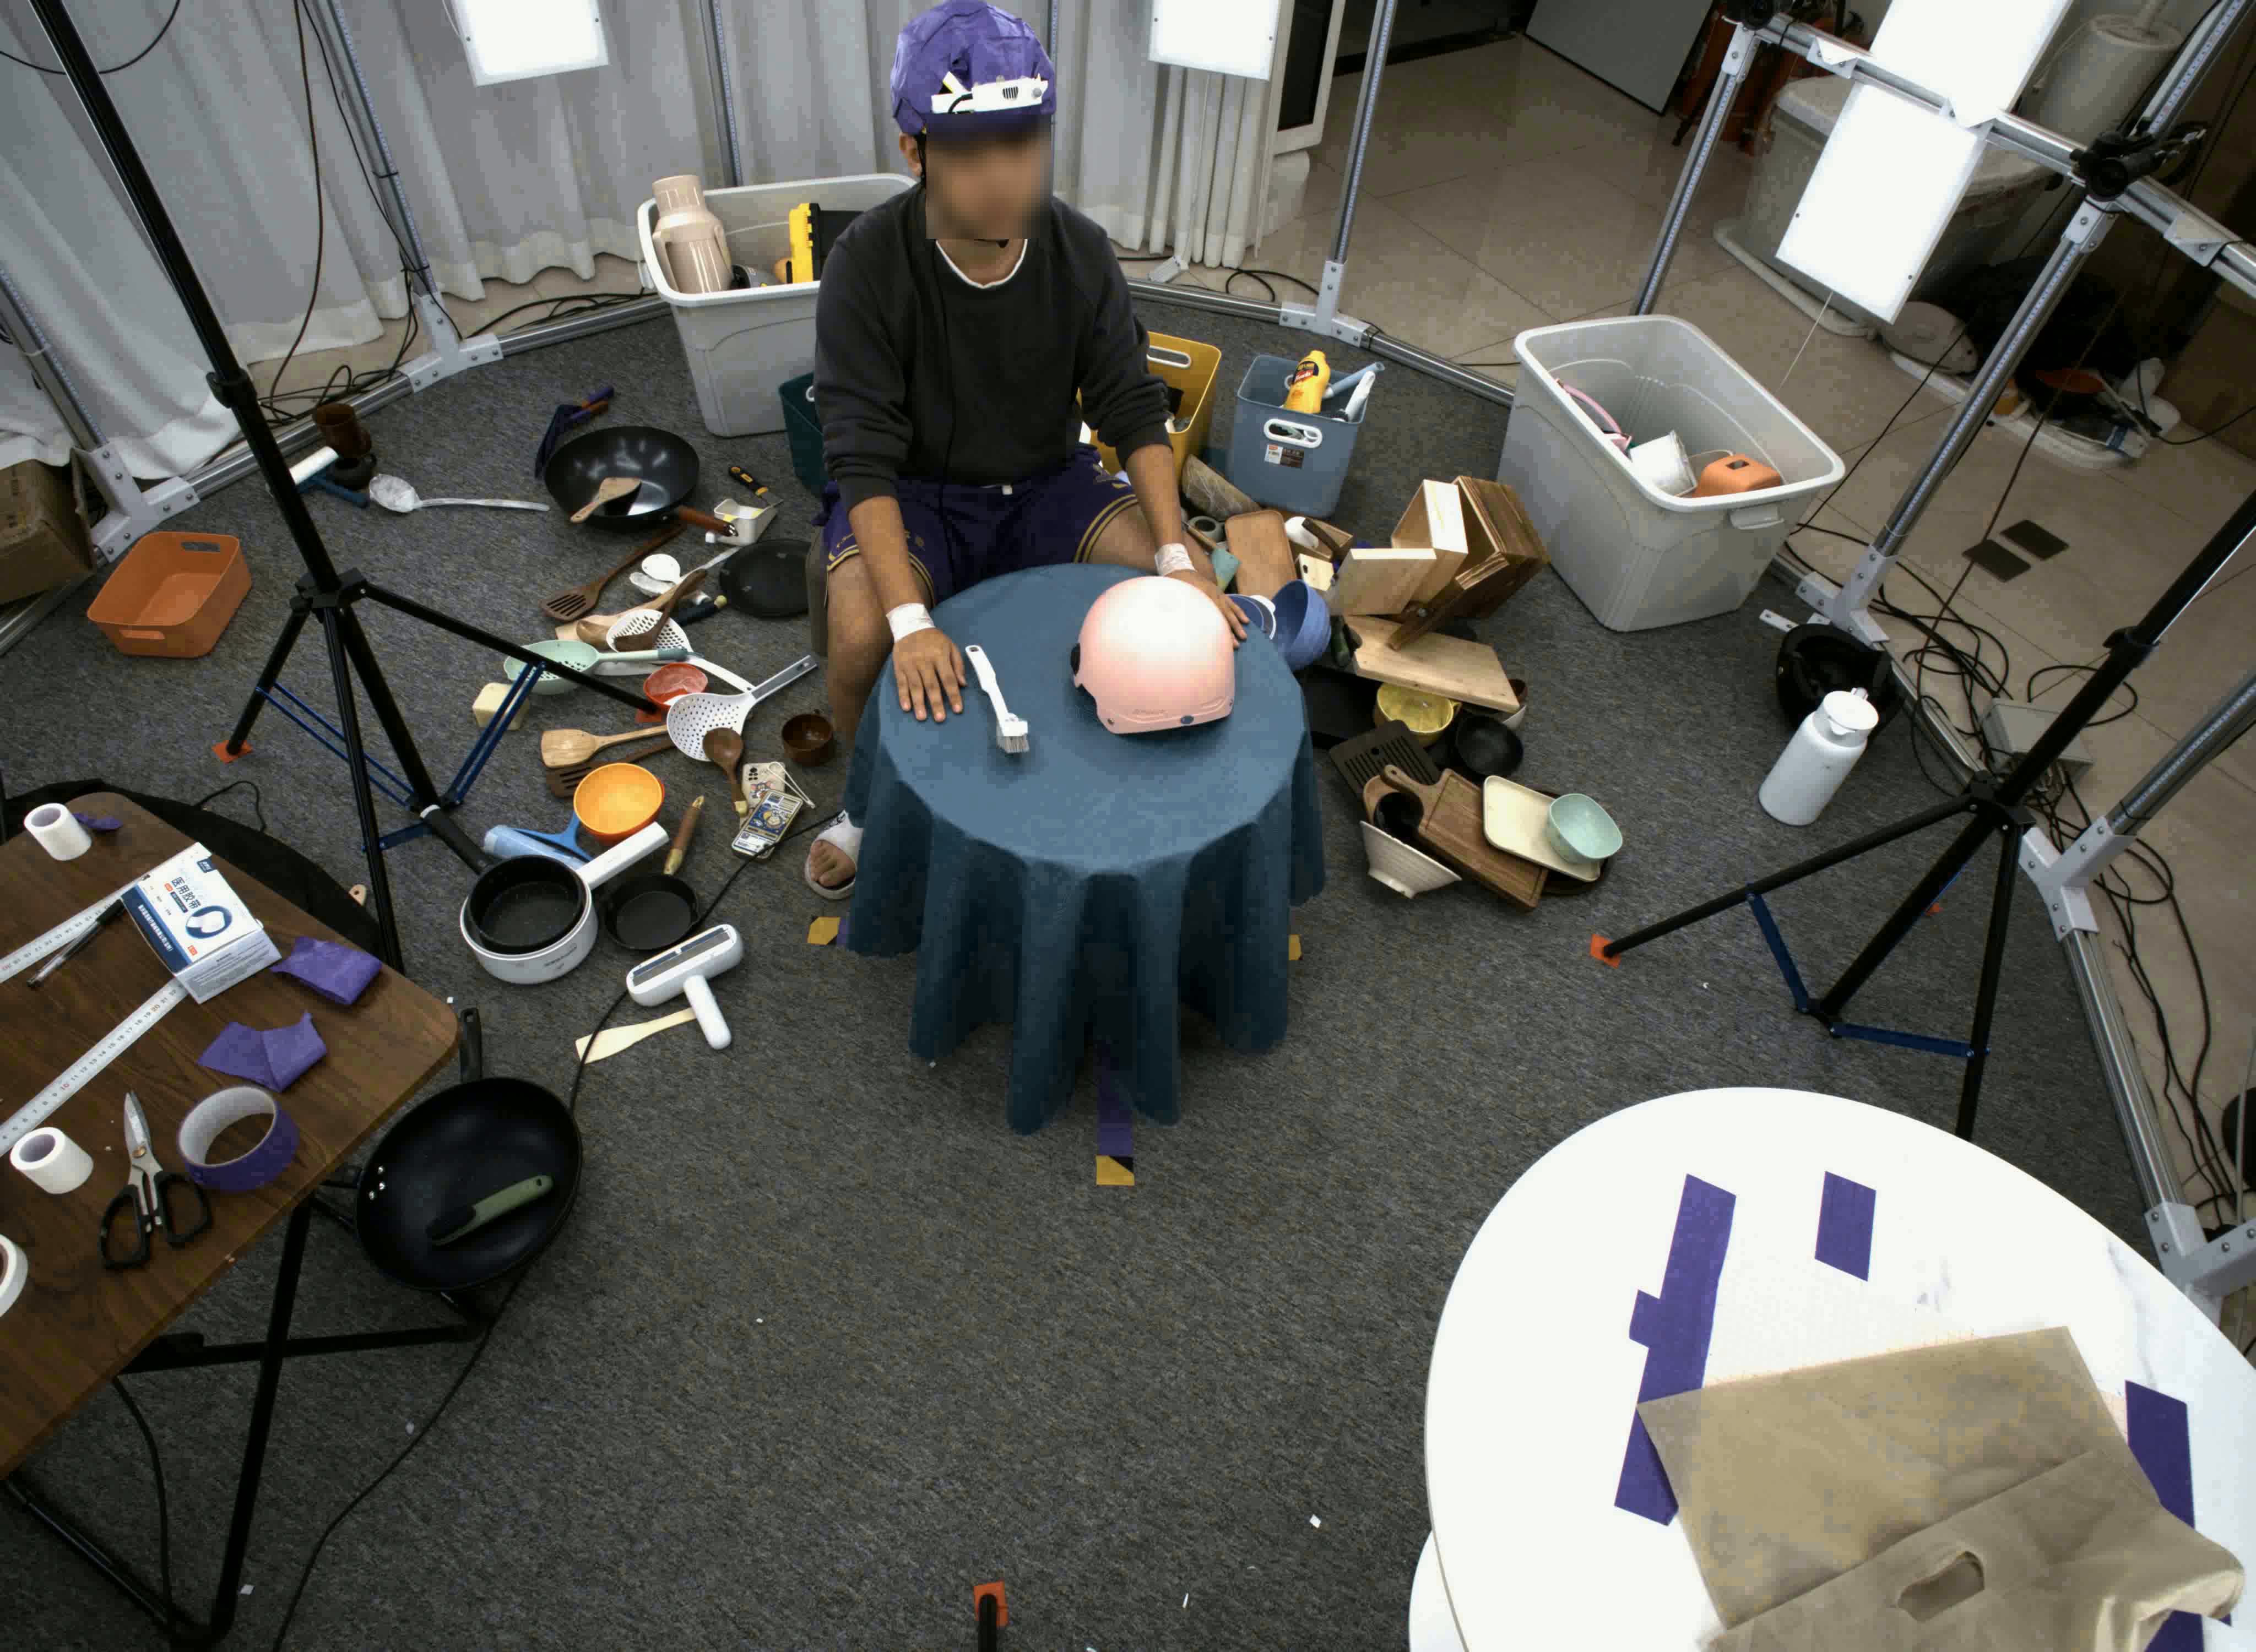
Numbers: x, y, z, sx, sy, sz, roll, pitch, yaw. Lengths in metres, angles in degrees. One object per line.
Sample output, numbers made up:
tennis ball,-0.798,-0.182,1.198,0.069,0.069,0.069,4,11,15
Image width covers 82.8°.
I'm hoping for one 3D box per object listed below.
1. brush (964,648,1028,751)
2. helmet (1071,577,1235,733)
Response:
brush,-0.187,-0.175,1.791,0.034,0.049,0.249,-10,37,-18
helmet,0.038,-0.263,1.801,0.234,0.155,0.272,-12,47,-13
